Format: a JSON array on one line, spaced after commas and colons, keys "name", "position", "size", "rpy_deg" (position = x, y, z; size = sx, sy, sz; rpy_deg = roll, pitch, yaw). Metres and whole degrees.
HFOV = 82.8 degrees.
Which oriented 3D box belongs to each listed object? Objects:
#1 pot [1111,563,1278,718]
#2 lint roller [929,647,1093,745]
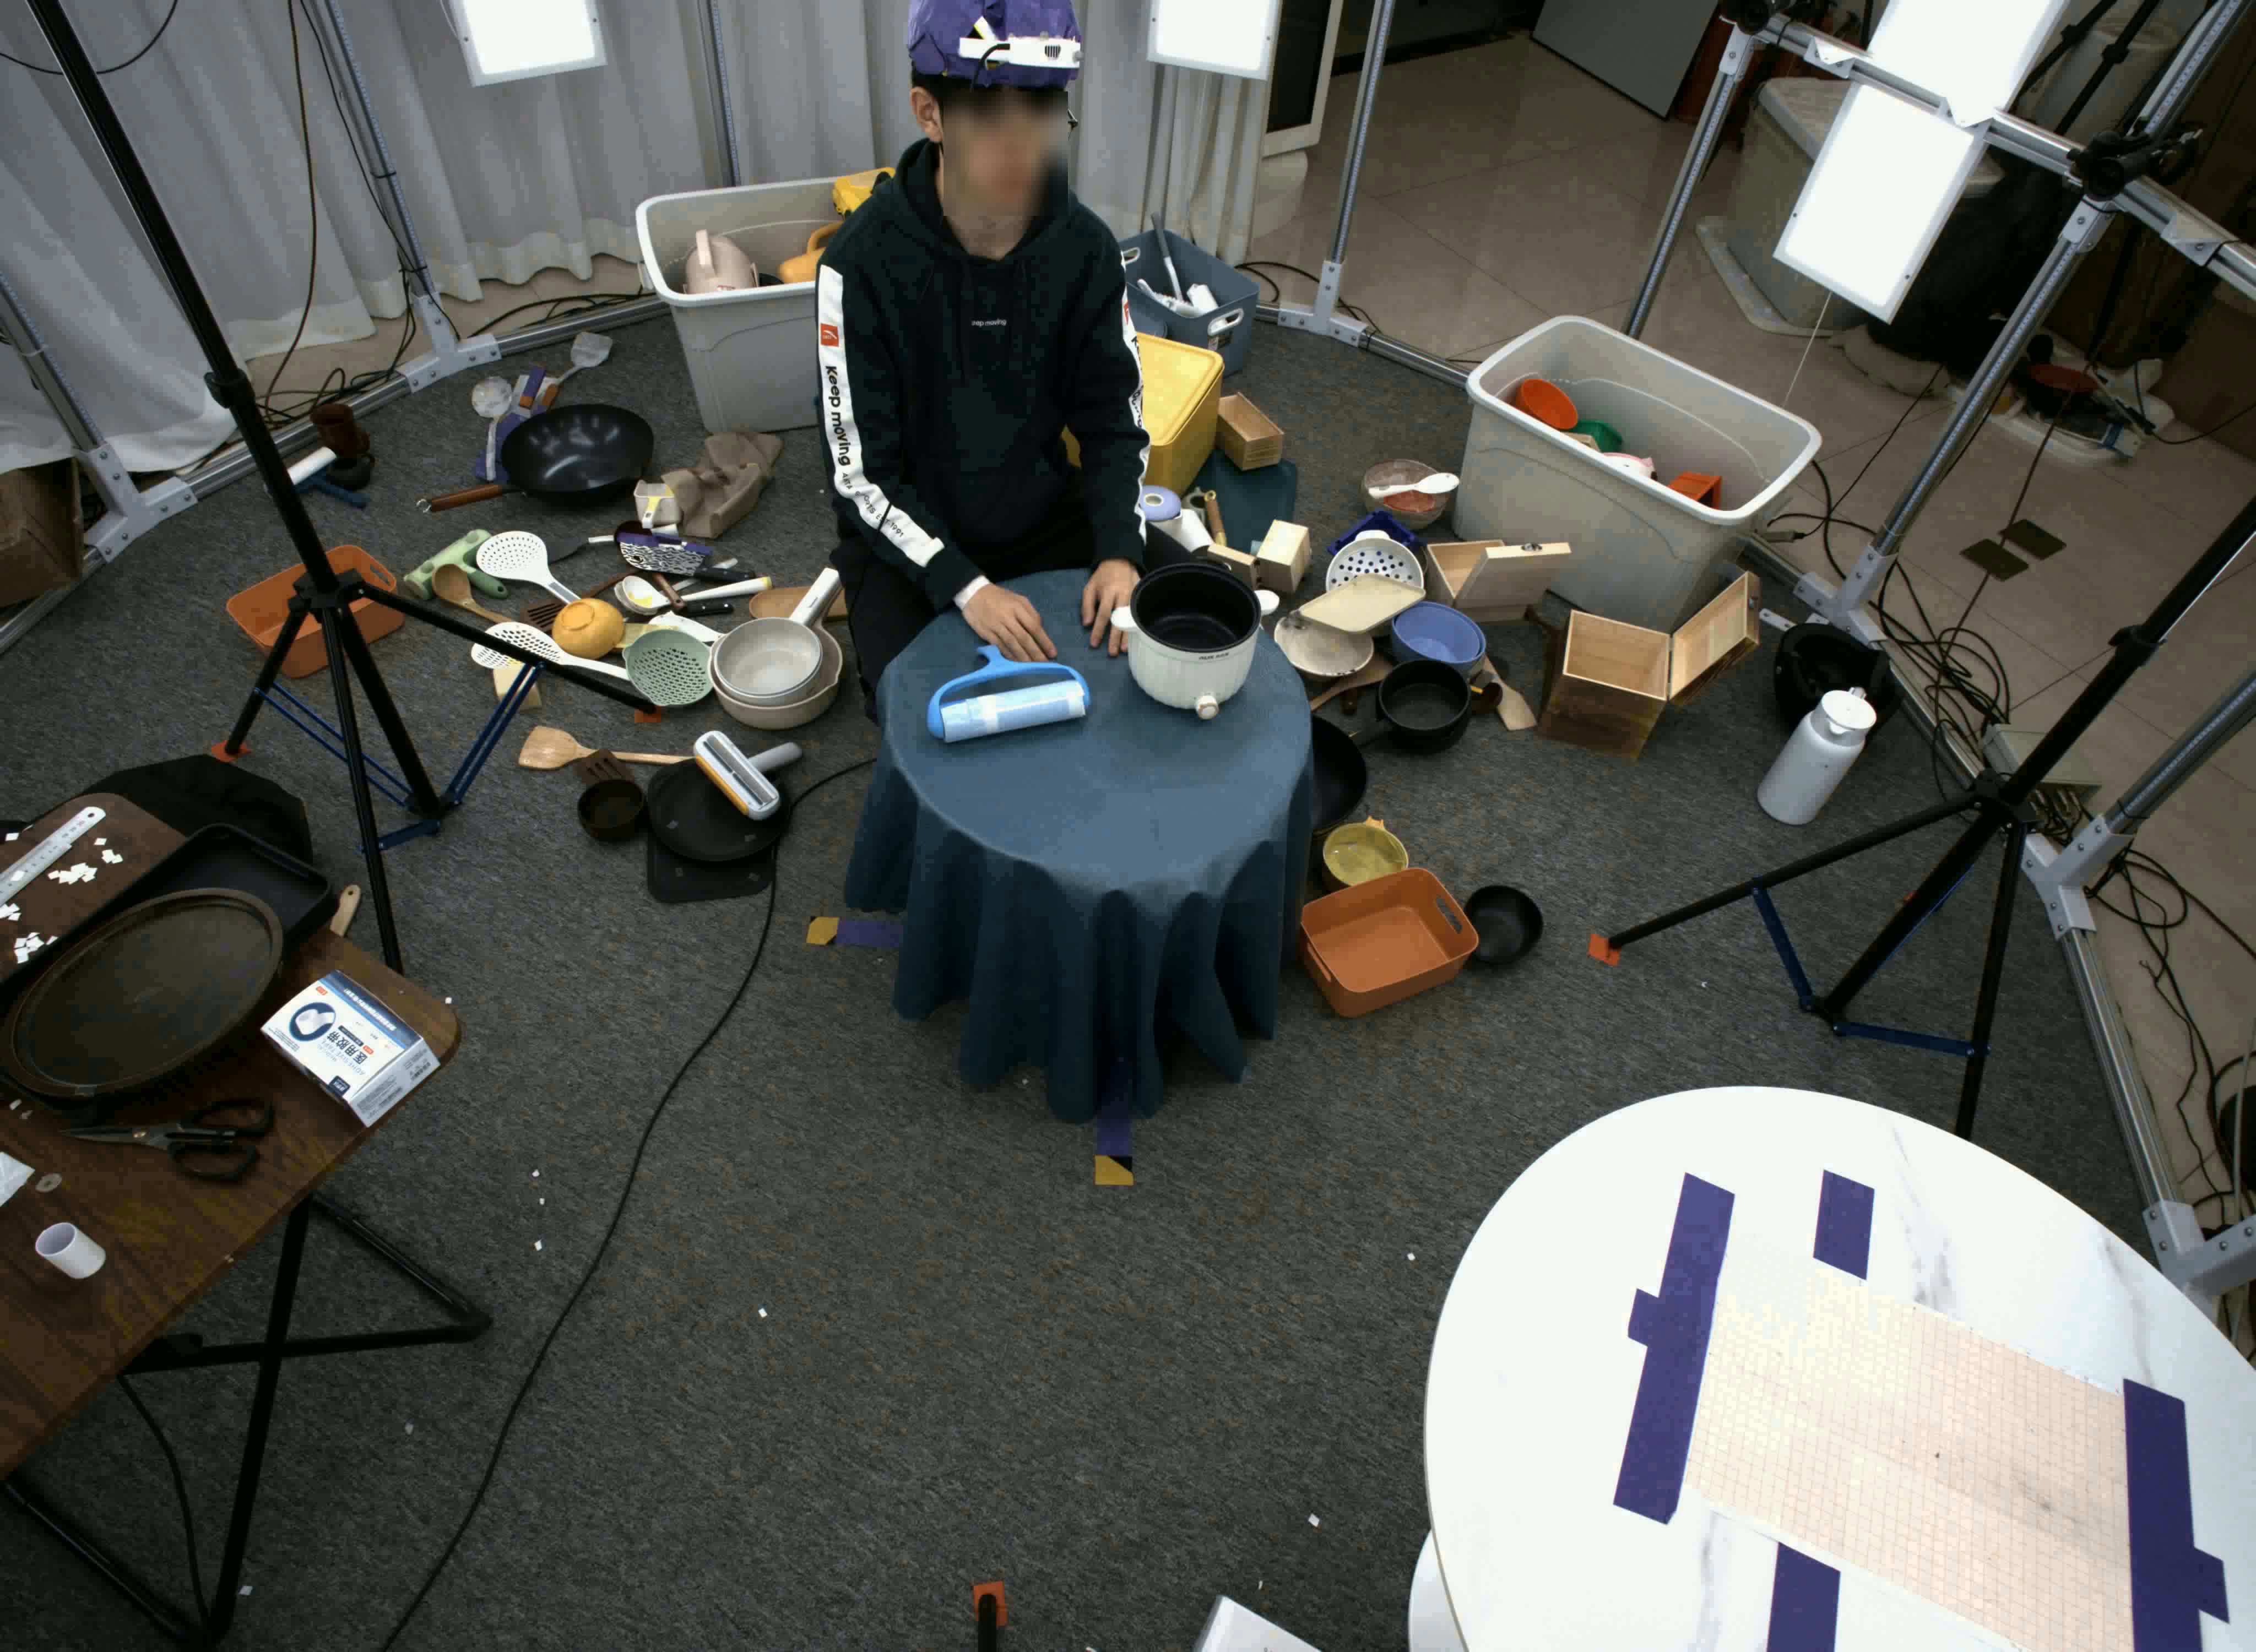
[{"name": "pot", "position": [0.092, -0.257, 1.807], "size": [0.240, 0.139, 0.195], "rpy_deg": [-11, 48, -11]}, {"name": "lint roller", "position": [-0.180, -0.203, 1.796], "size": [0.229, 0.066, 0.184], "rpy_deg": [-15, 53, -14]}]
